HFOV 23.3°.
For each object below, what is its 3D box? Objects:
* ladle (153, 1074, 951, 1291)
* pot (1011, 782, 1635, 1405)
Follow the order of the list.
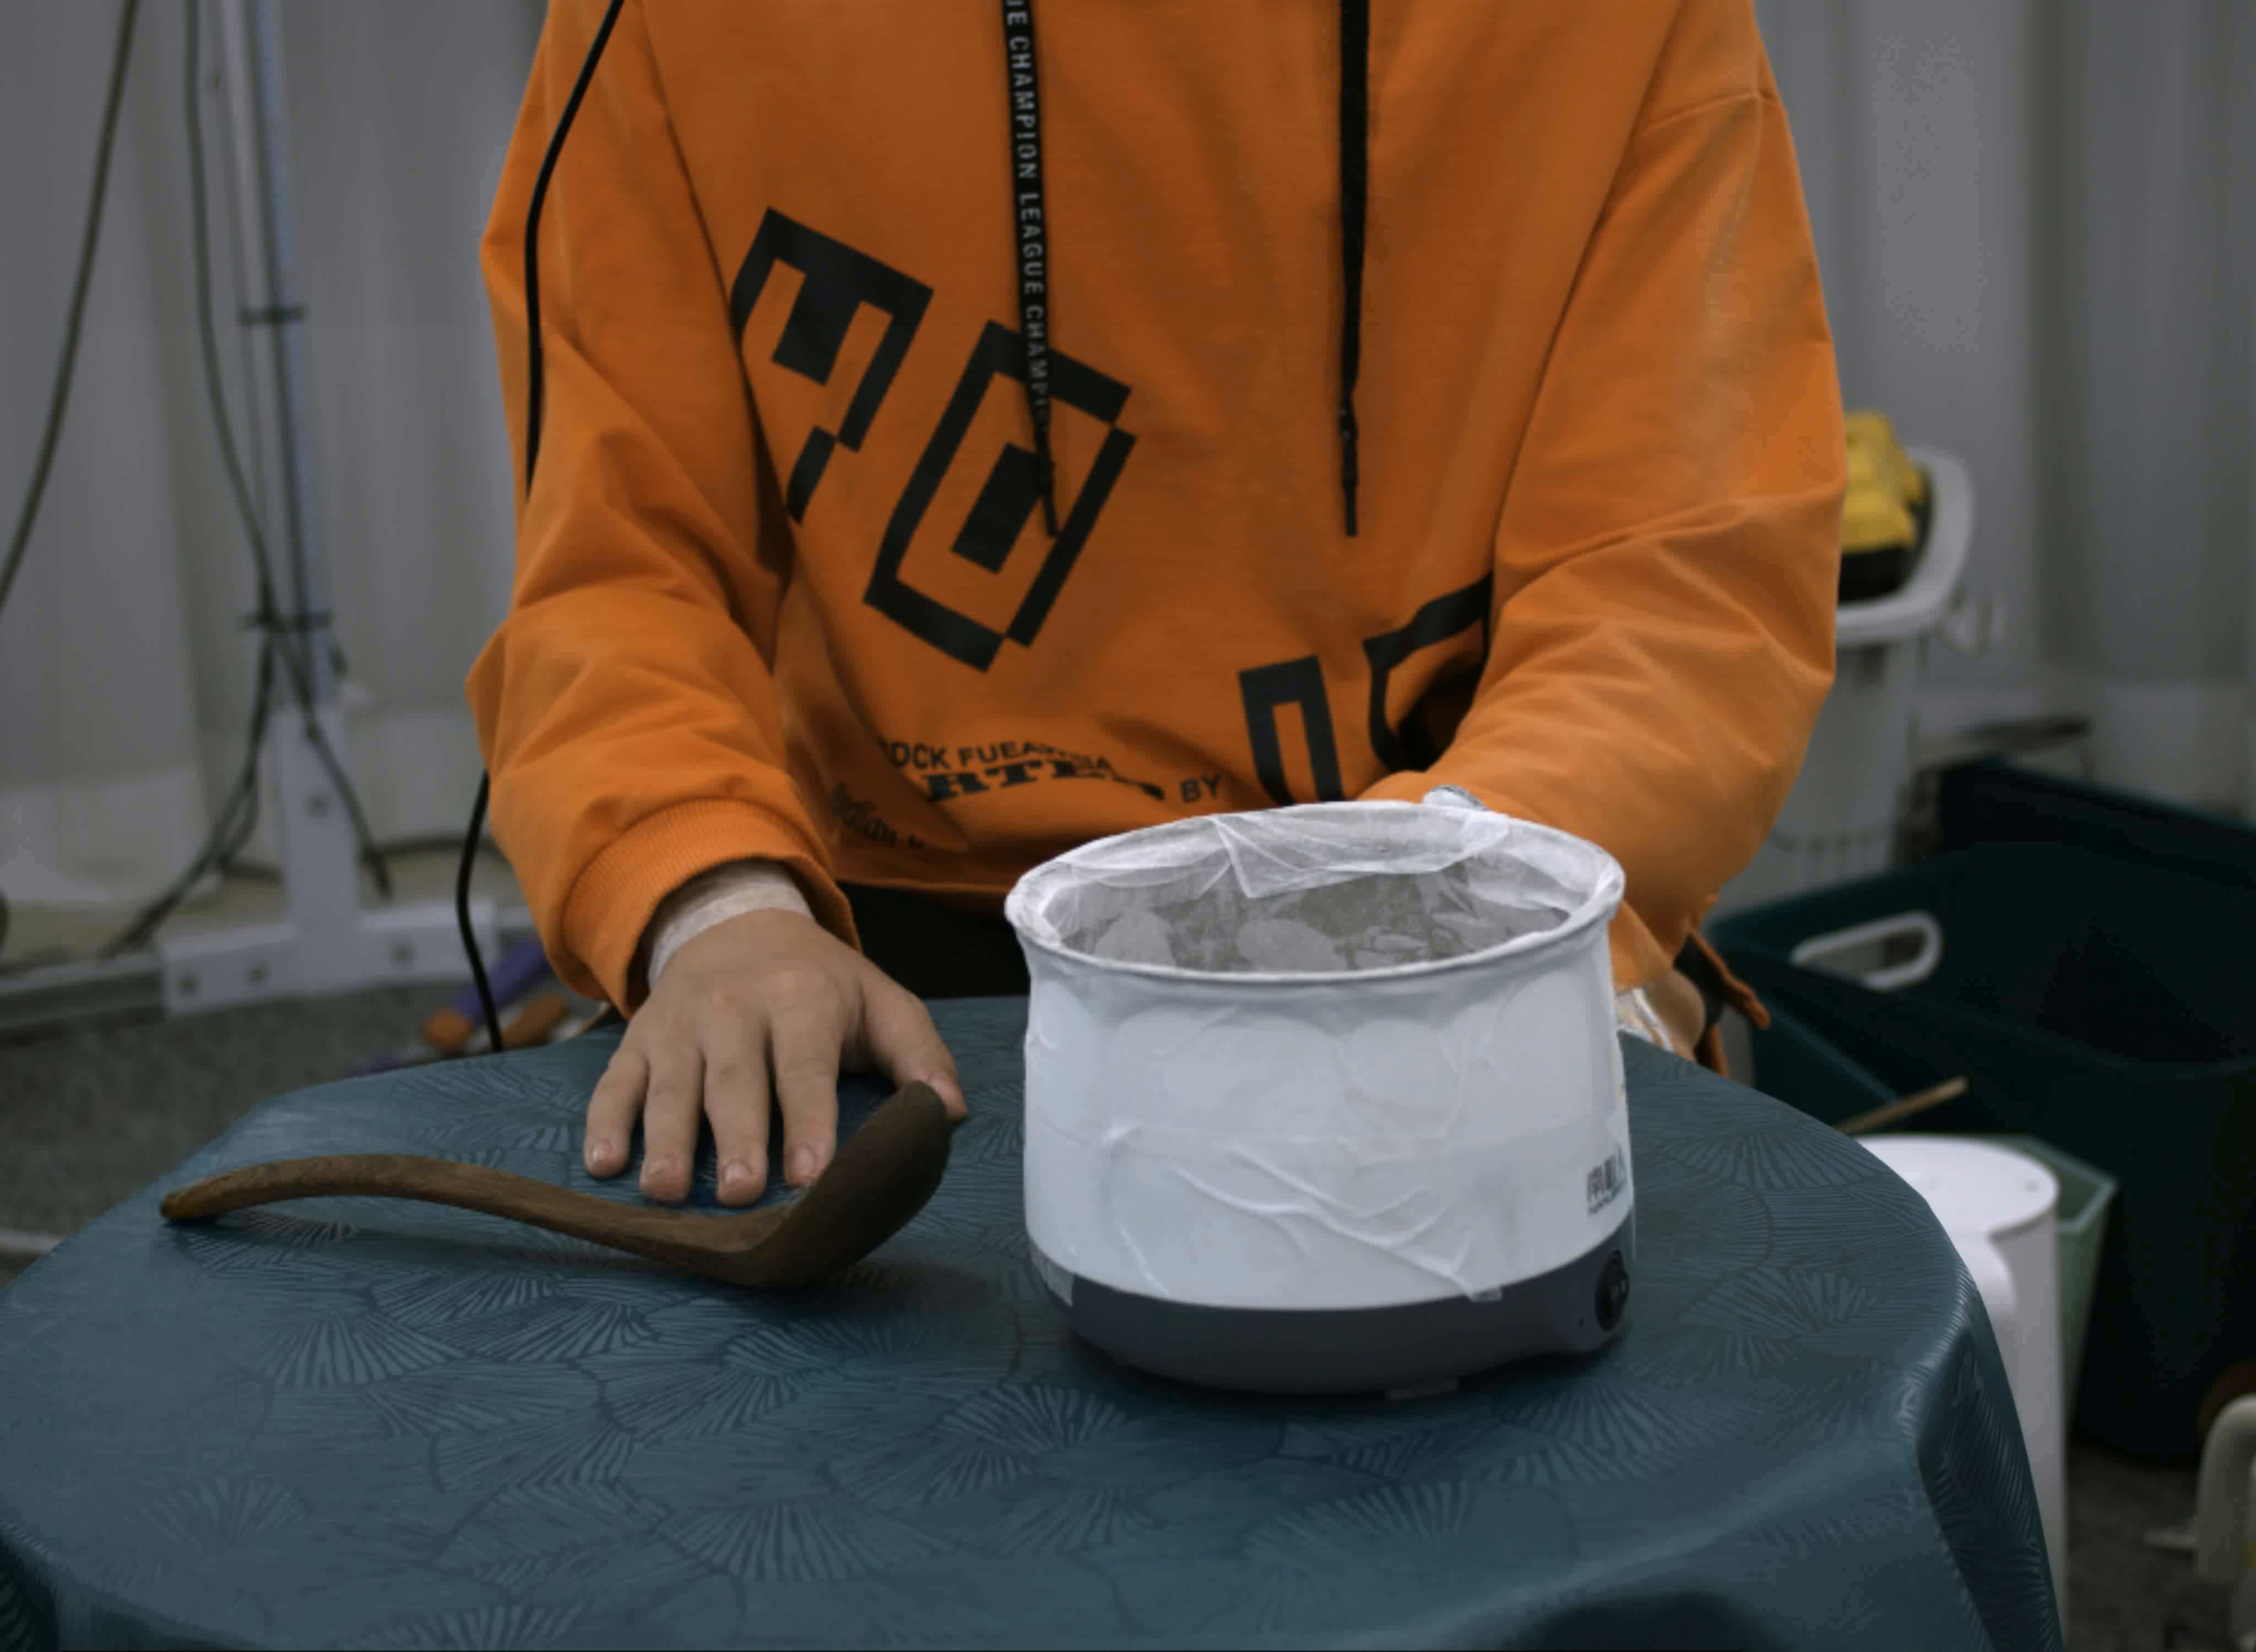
[{"bbox_3d":[-0.181,0.099,1.676,0.274,0.071,0.076,5,13,25],"label":"ladle"},{"bbox_3d":[0.068,0.071,1.600,0.179,0.136,0.234,4,17,24],"label":"pot"}]
